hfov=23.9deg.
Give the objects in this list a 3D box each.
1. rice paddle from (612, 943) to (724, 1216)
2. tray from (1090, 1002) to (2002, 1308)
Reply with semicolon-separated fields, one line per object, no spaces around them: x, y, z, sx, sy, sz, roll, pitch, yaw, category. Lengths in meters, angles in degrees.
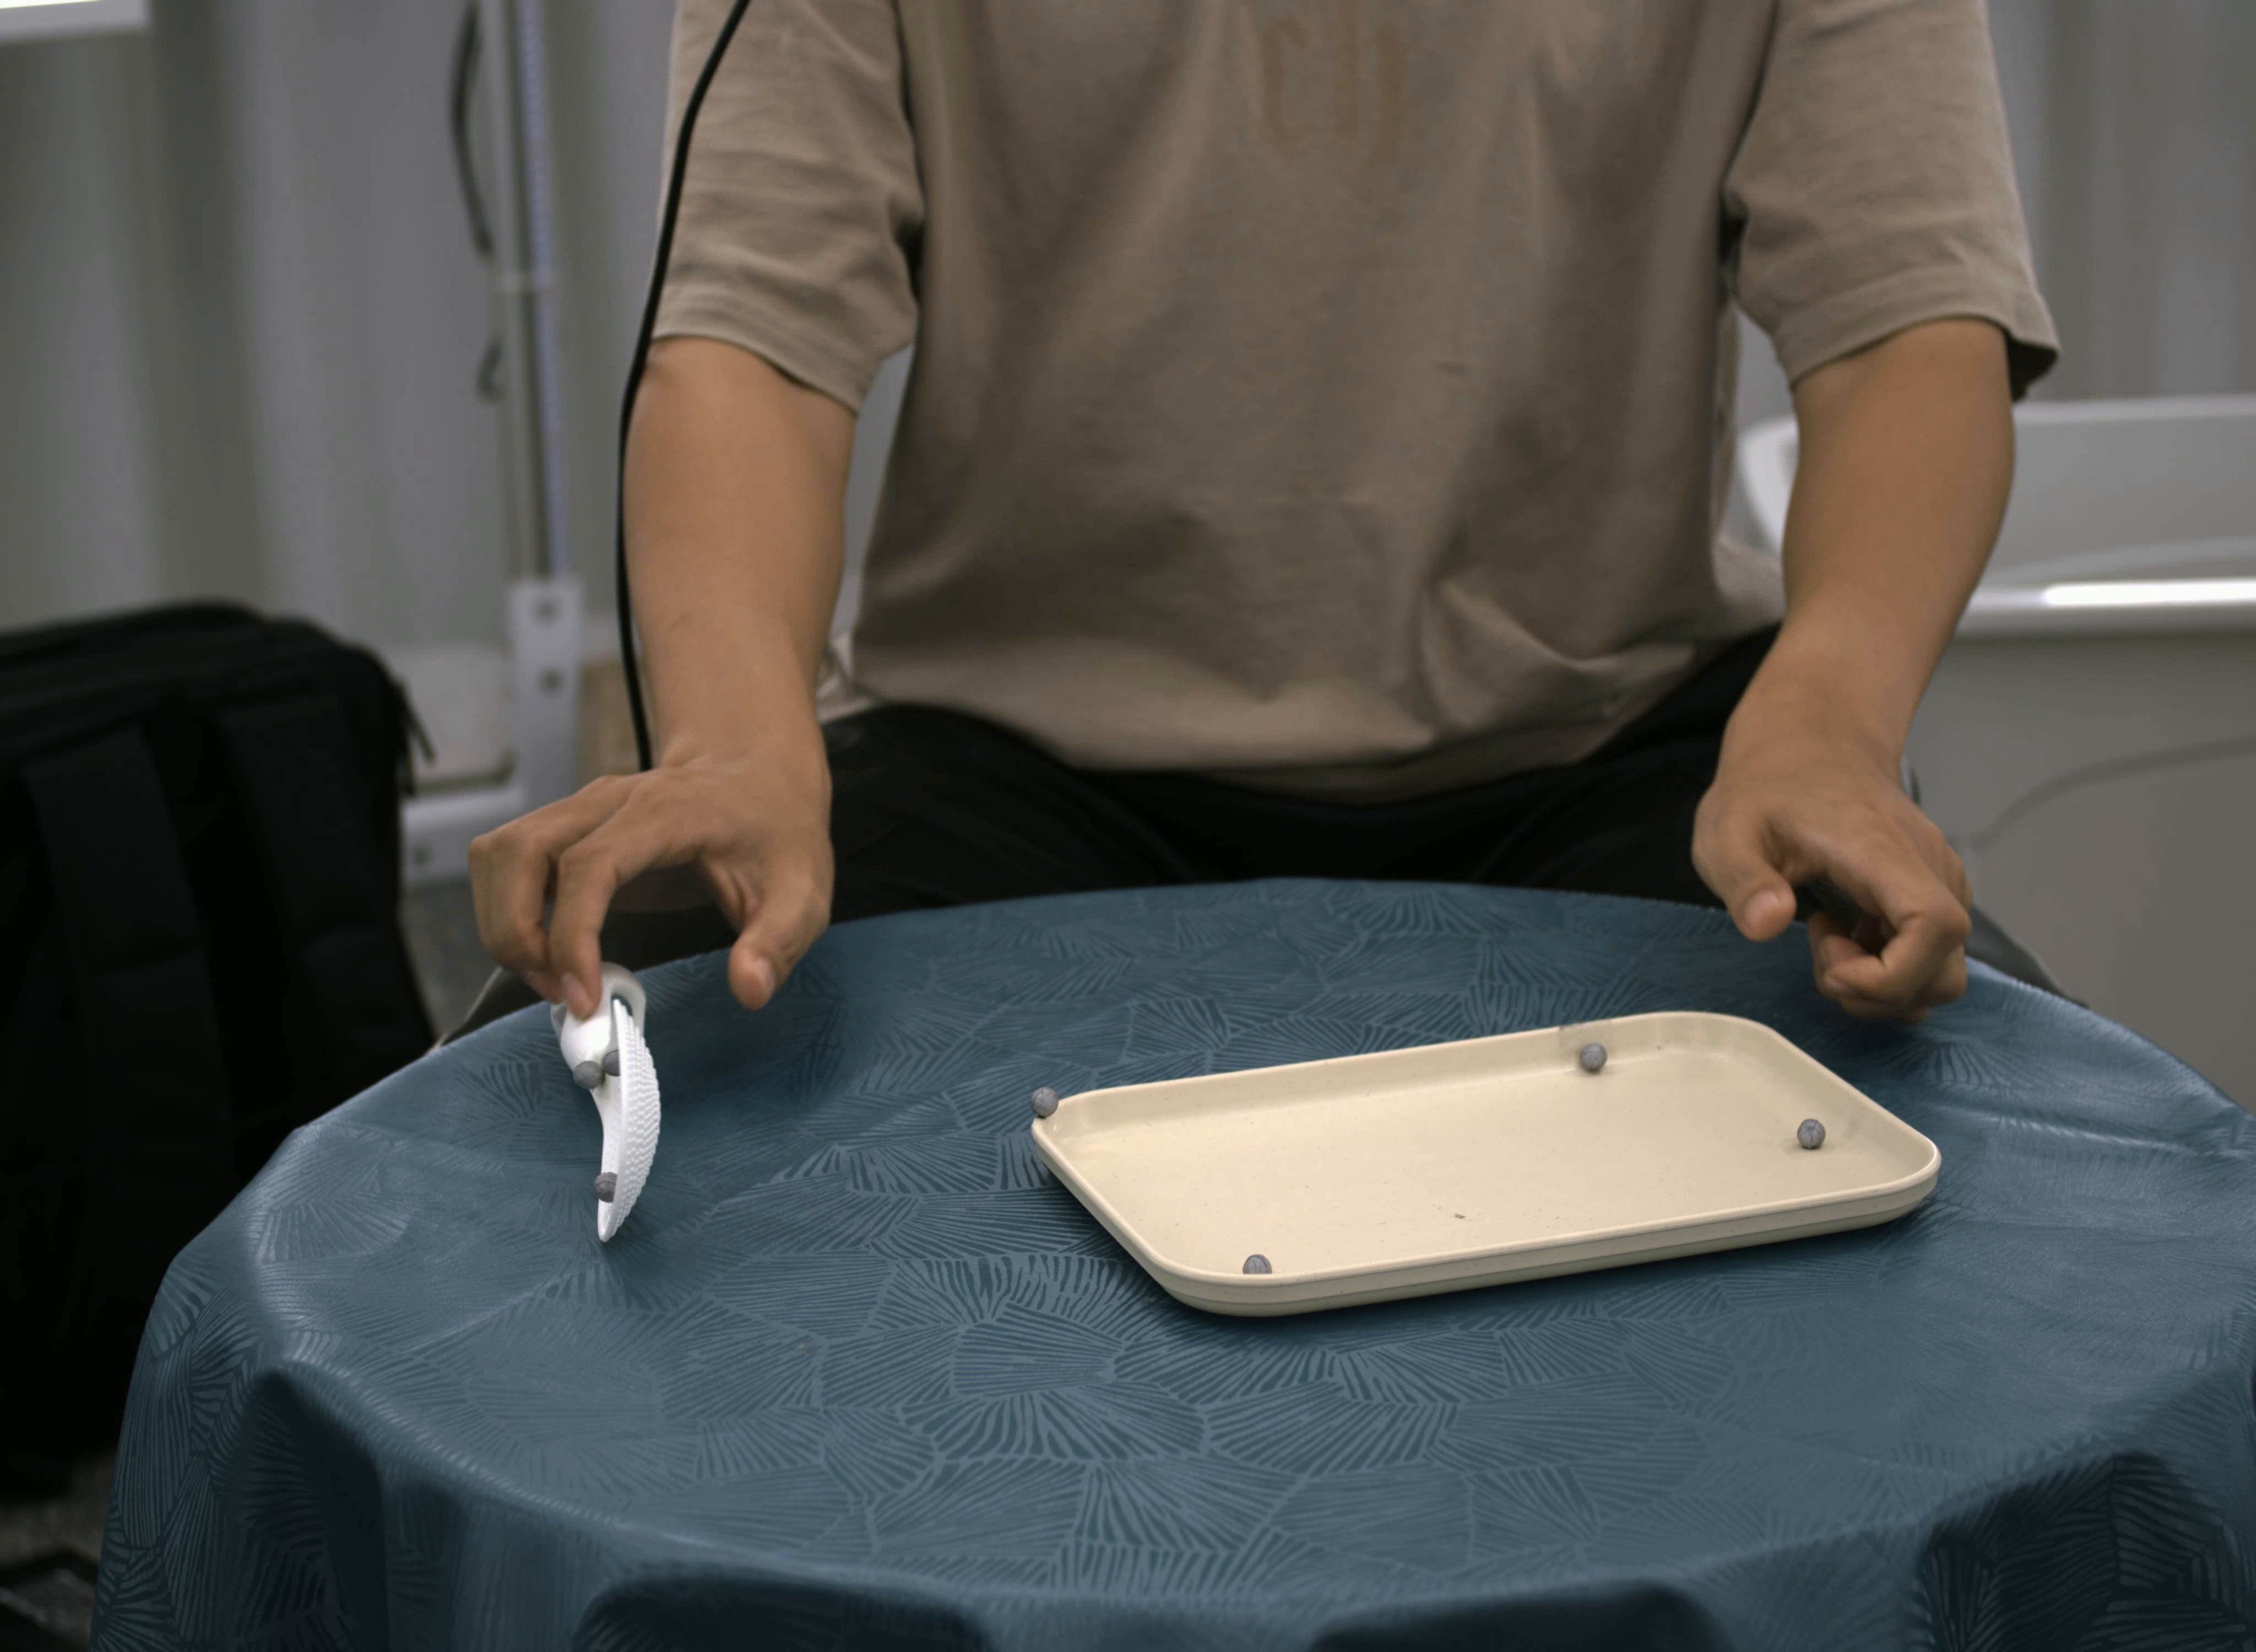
-0.137;0.068;1.591;0.029;0.069;0.206;4;9;-7;rice paddle
0.120;0.095;1.540;0.236;0.017;0.174;-6;17;-15;tray
